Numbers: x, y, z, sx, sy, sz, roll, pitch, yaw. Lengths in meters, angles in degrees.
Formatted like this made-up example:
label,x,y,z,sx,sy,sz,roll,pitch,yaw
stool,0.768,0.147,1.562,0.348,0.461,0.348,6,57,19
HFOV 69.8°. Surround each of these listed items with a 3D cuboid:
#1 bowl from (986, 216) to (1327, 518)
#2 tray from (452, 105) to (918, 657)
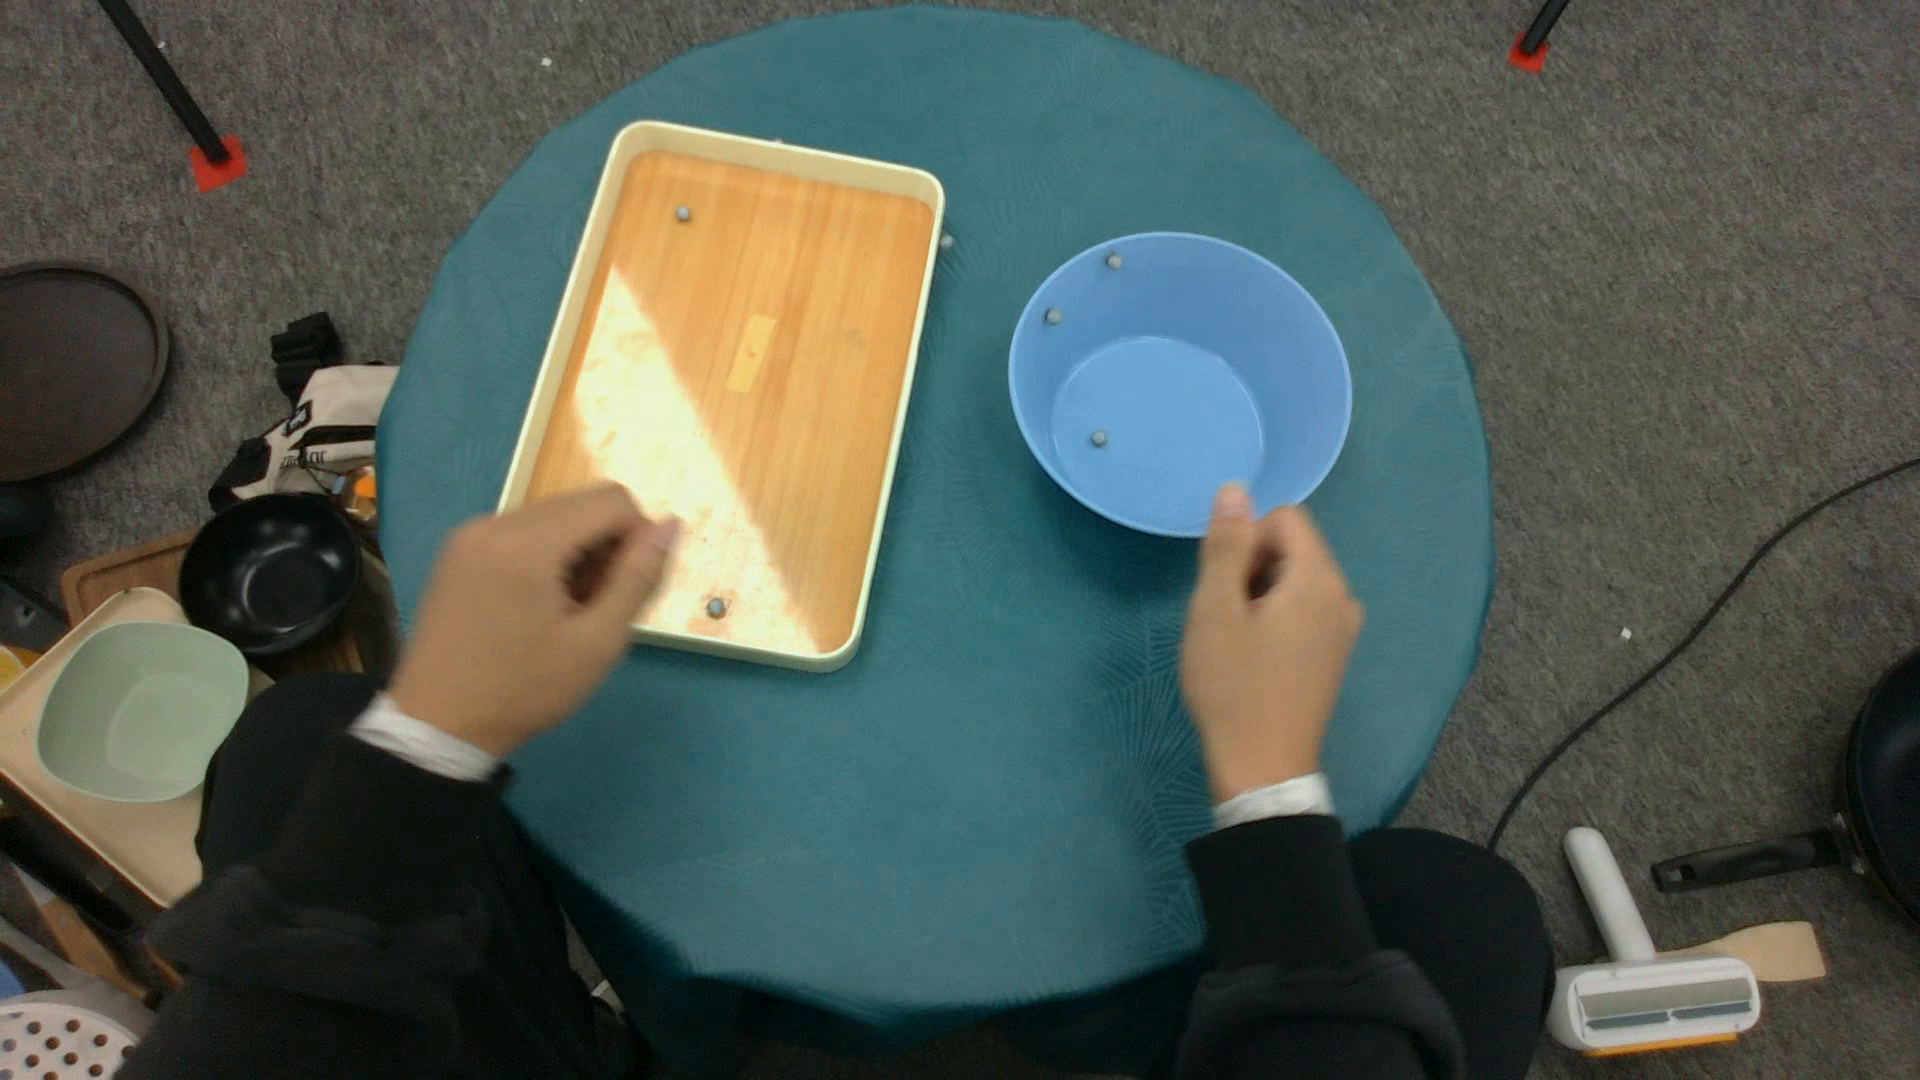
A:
label,x,y,z,sx,sy,sz,roll,pitch,yaw
bowl,0.098,-0.080,0.728,0.176,0.070,0.176,2,67,-4
tray,-0.137,-0.094,0.736,0.191,0.027,0.301,10,67,-1
